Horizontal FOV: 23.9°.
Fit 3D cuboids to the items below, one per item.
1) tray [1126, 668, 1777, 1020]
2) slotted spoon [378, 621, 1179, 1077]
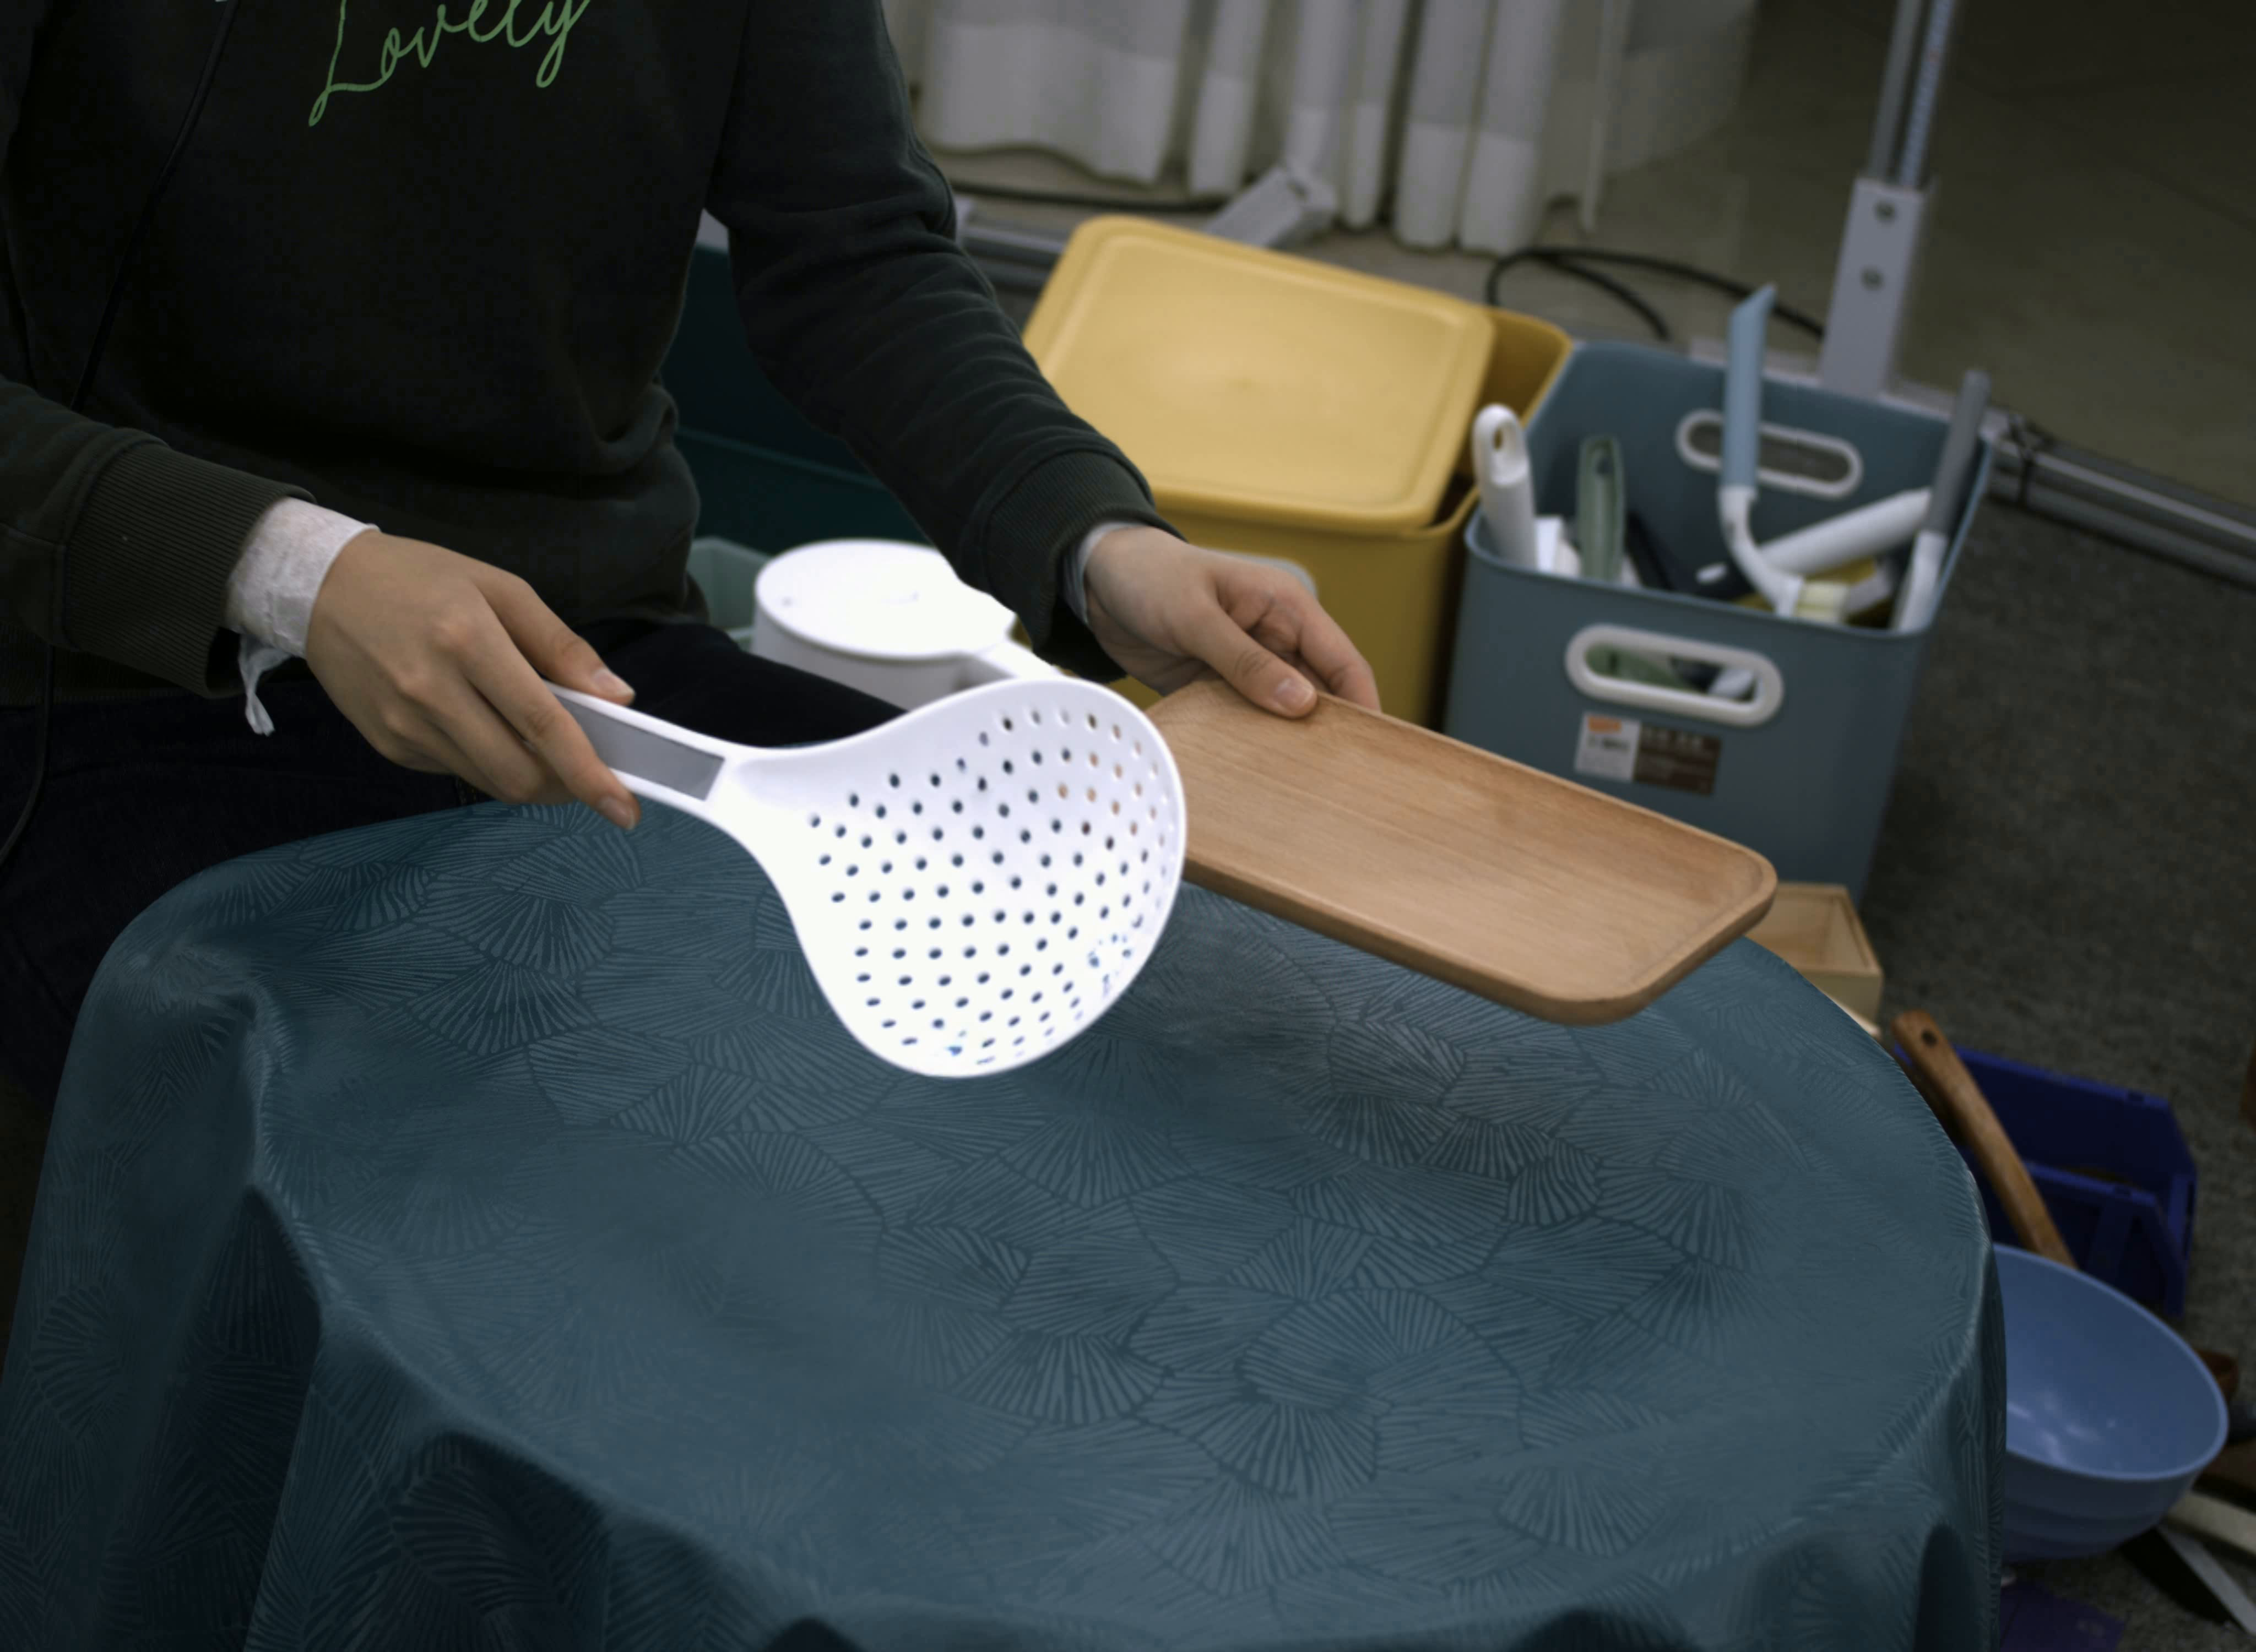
[{"bbox_3d":[0.097,0.004,1.856,0.252,0.023,0.130,20,33,34],"label":"tray"},{"bbox_3d":[-0.121,-0.011,1.736,0.352,0.136,0.045,20,-10,33],"label":"slotted spoon"}]
